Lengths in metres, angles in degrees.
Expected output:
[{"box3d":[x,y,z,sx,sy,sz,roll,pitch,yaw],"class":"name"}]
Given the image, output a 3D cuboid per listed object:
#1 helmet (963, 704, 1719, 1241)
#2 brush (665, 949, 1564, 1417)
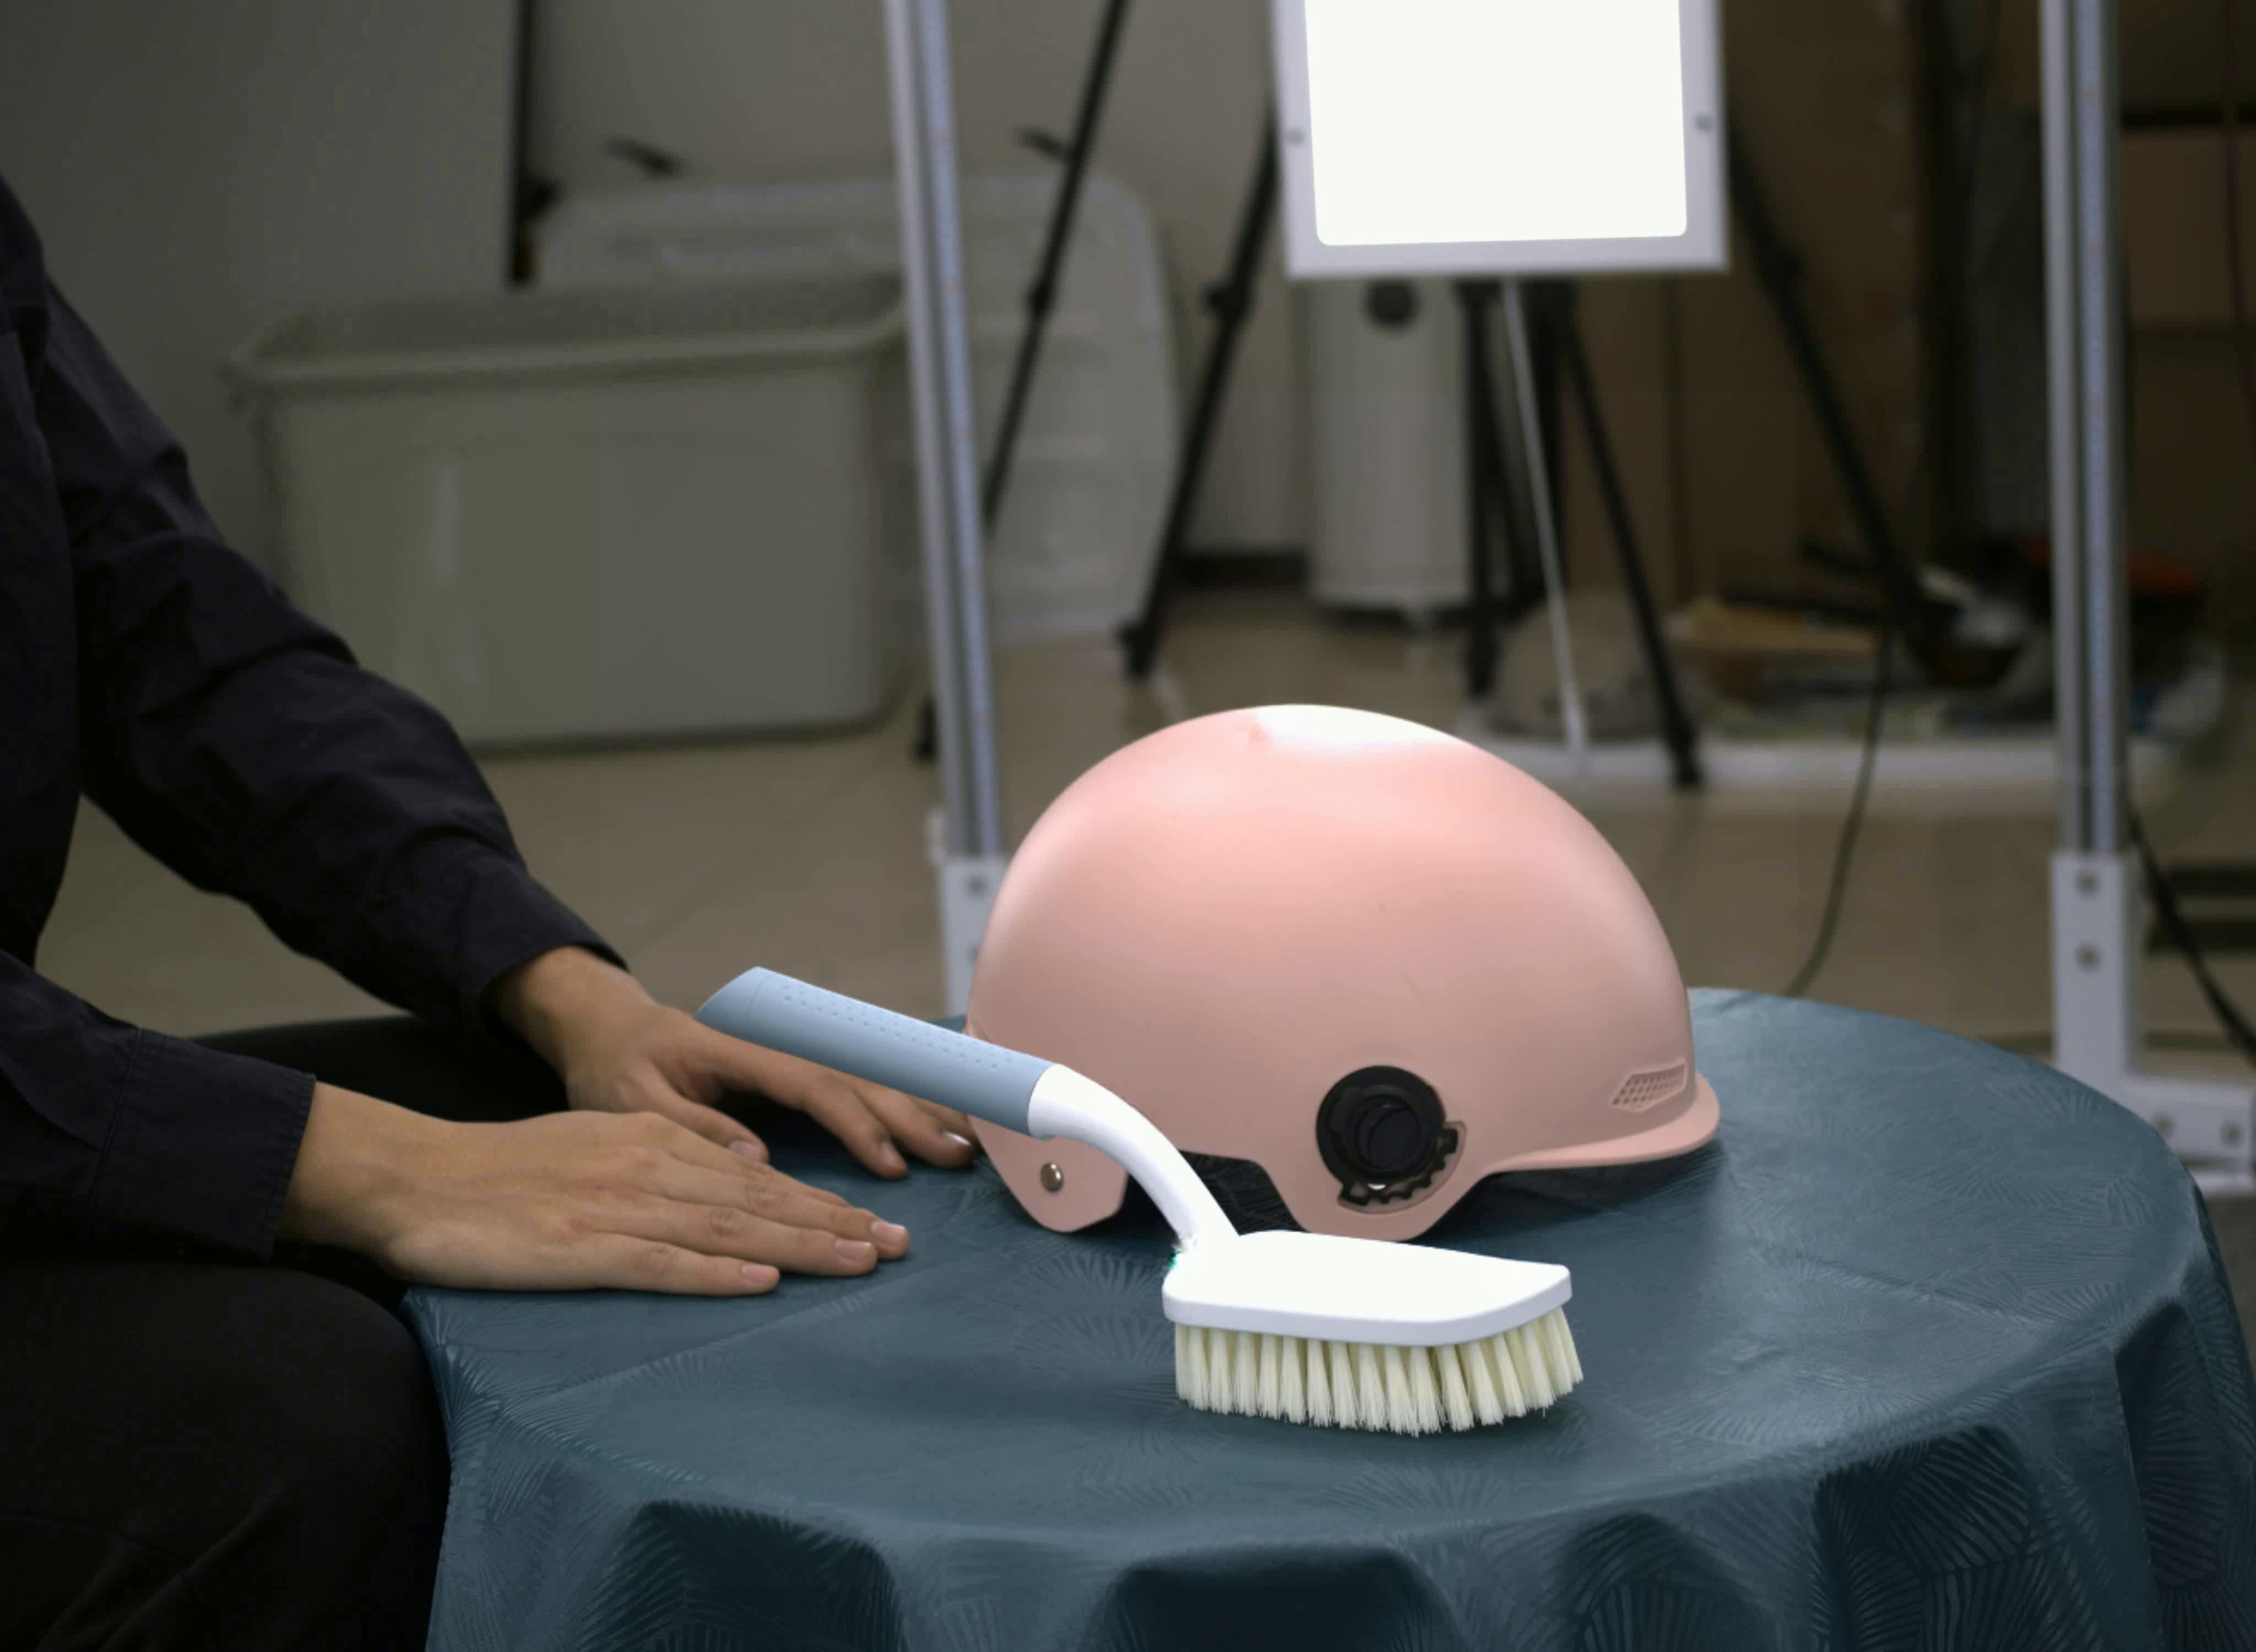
[{"box3d":[0.074,0.040,1.906,0.267,0.159,0.232,2,14,8],"class":"helmet"},{"box3d":[-0.010,0.125,1.727,0.331,0.084,0.082,17,-14,29],"class":"brush"}]
